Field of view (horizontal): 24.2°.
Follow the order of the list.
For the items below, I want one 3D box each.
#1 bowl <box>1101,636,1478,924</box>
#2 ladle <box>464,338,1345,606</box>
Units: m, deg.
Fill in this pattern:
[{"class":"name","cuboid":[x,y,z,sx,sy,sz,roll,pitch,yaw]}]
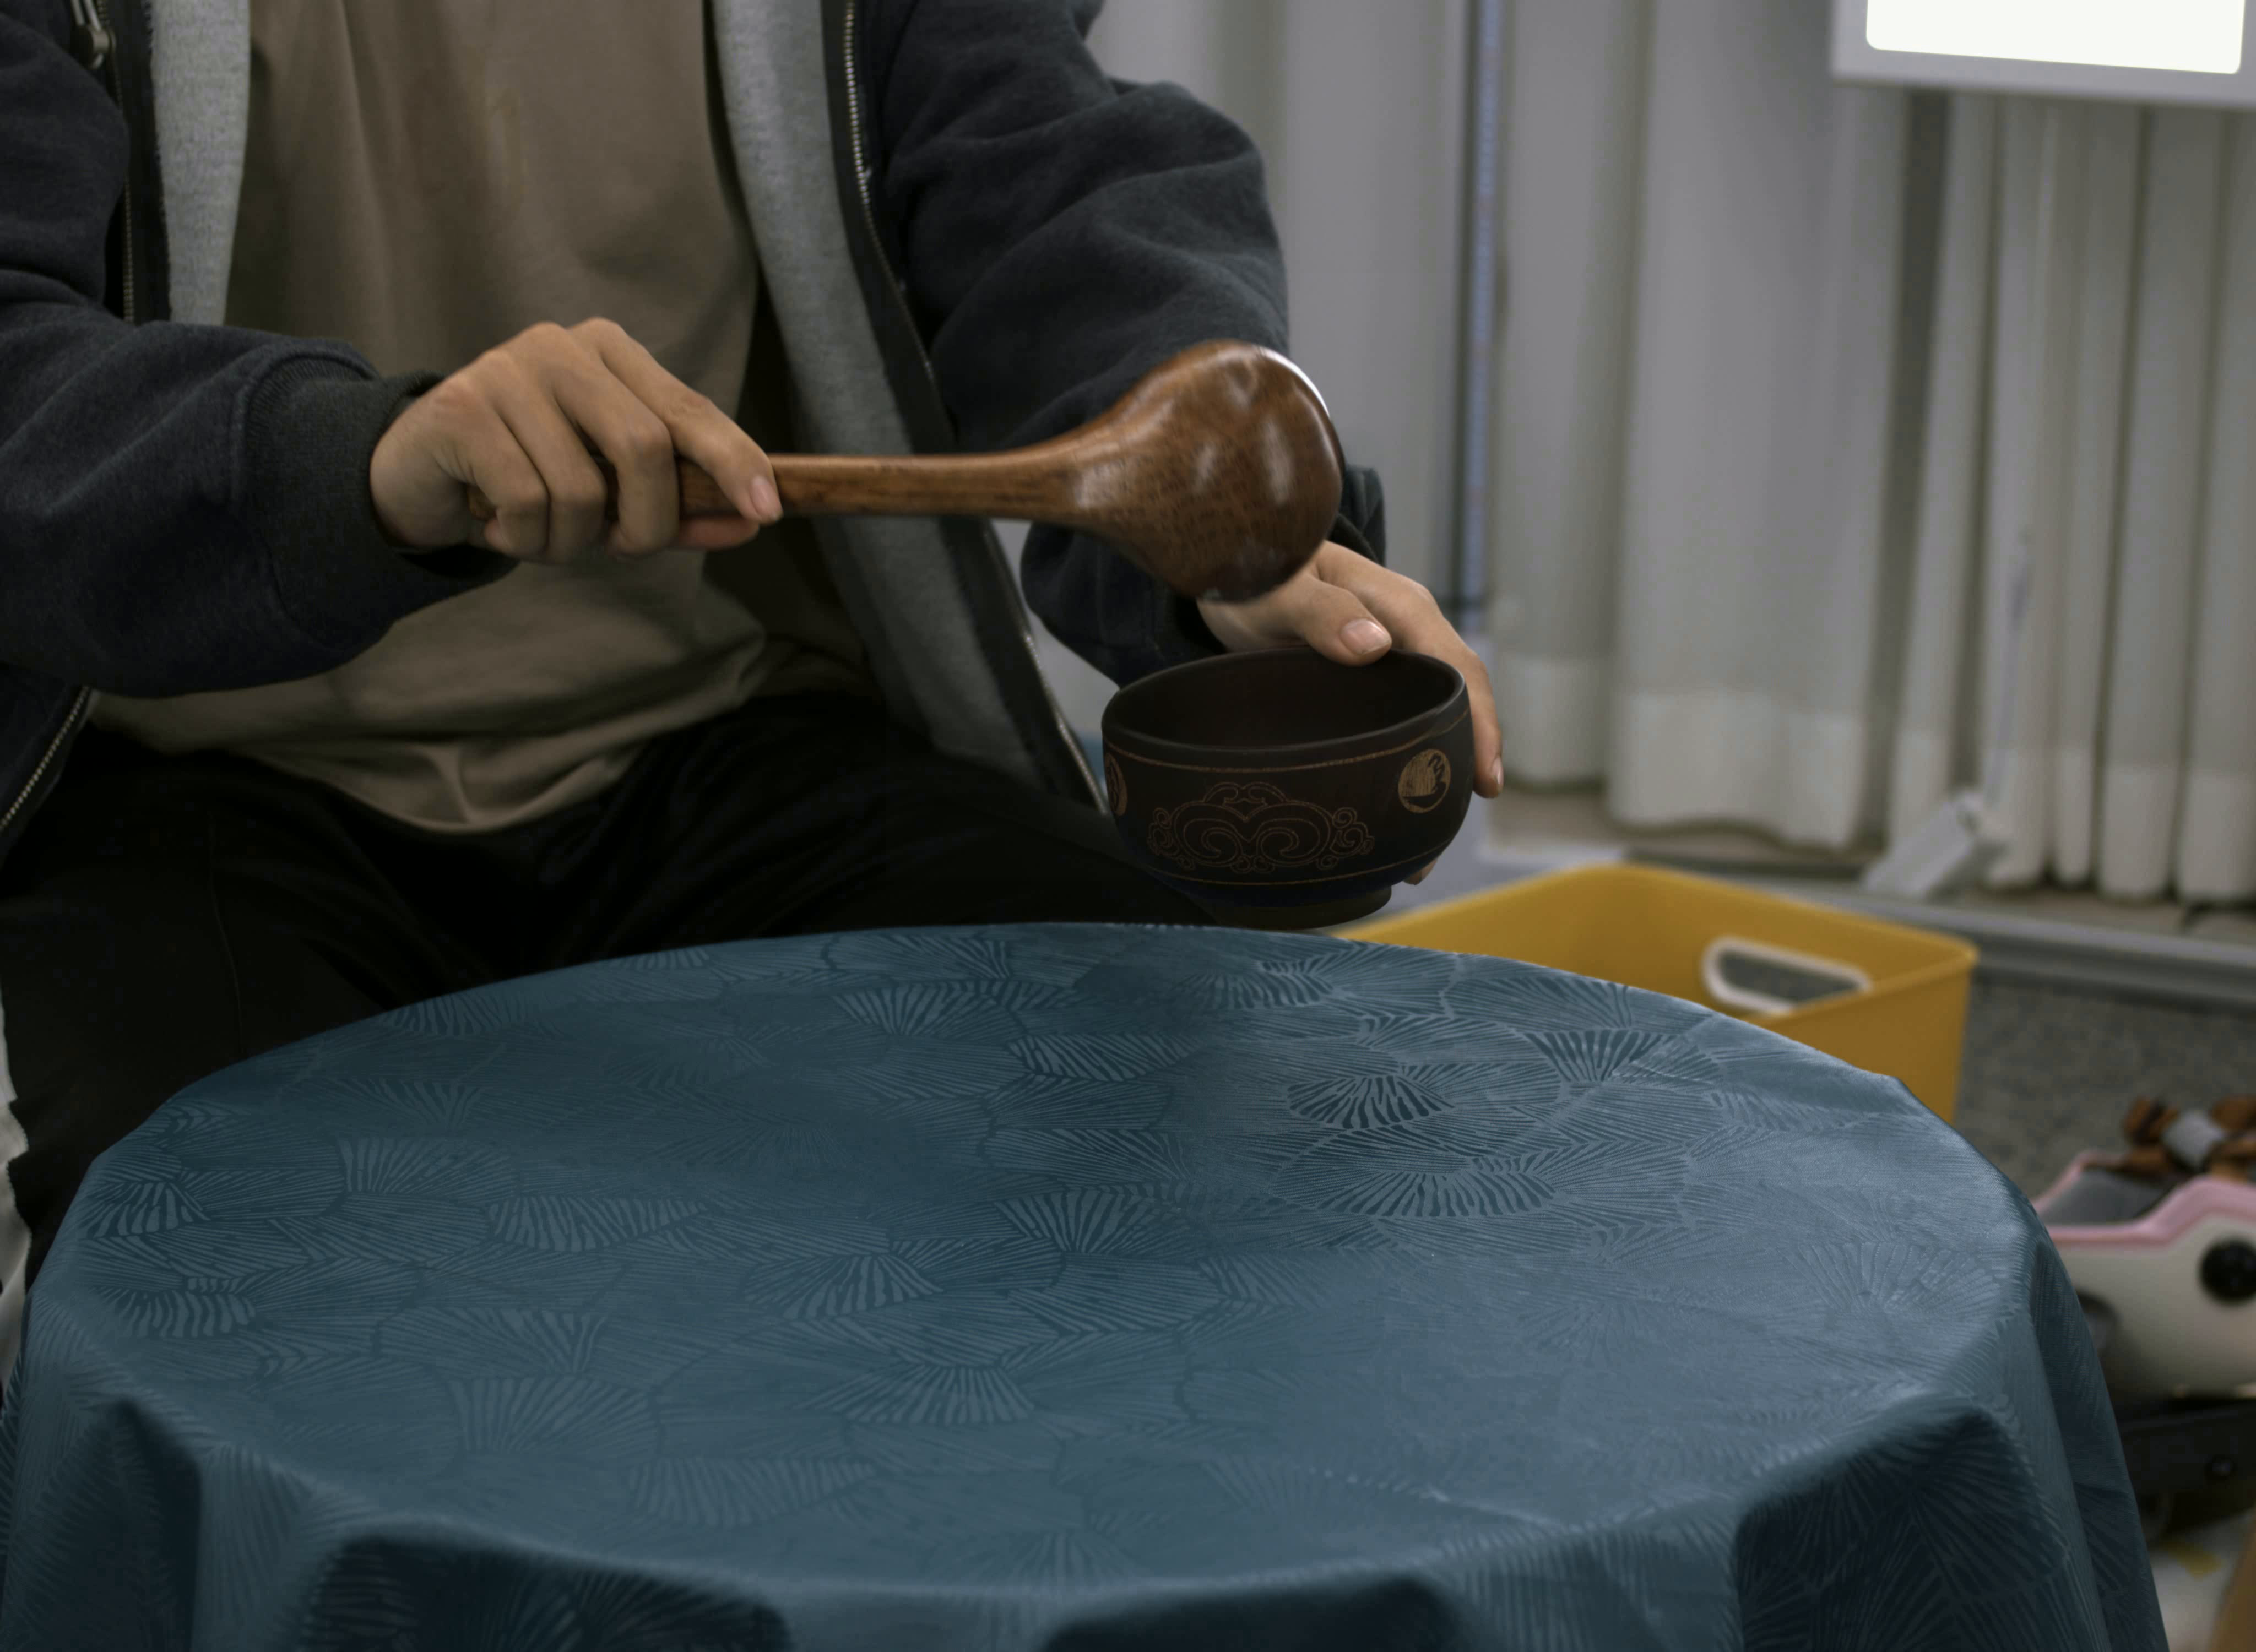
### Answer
[{"class":"bowl","cuboid":[0.052,-0.011,1.652,0.117,0.070,0.117,-5,18,2]},{"class":"ladle","cuboid":[-0.069,-0.108,1.645,0.272,0.082,0.077,0,7,17]}]
